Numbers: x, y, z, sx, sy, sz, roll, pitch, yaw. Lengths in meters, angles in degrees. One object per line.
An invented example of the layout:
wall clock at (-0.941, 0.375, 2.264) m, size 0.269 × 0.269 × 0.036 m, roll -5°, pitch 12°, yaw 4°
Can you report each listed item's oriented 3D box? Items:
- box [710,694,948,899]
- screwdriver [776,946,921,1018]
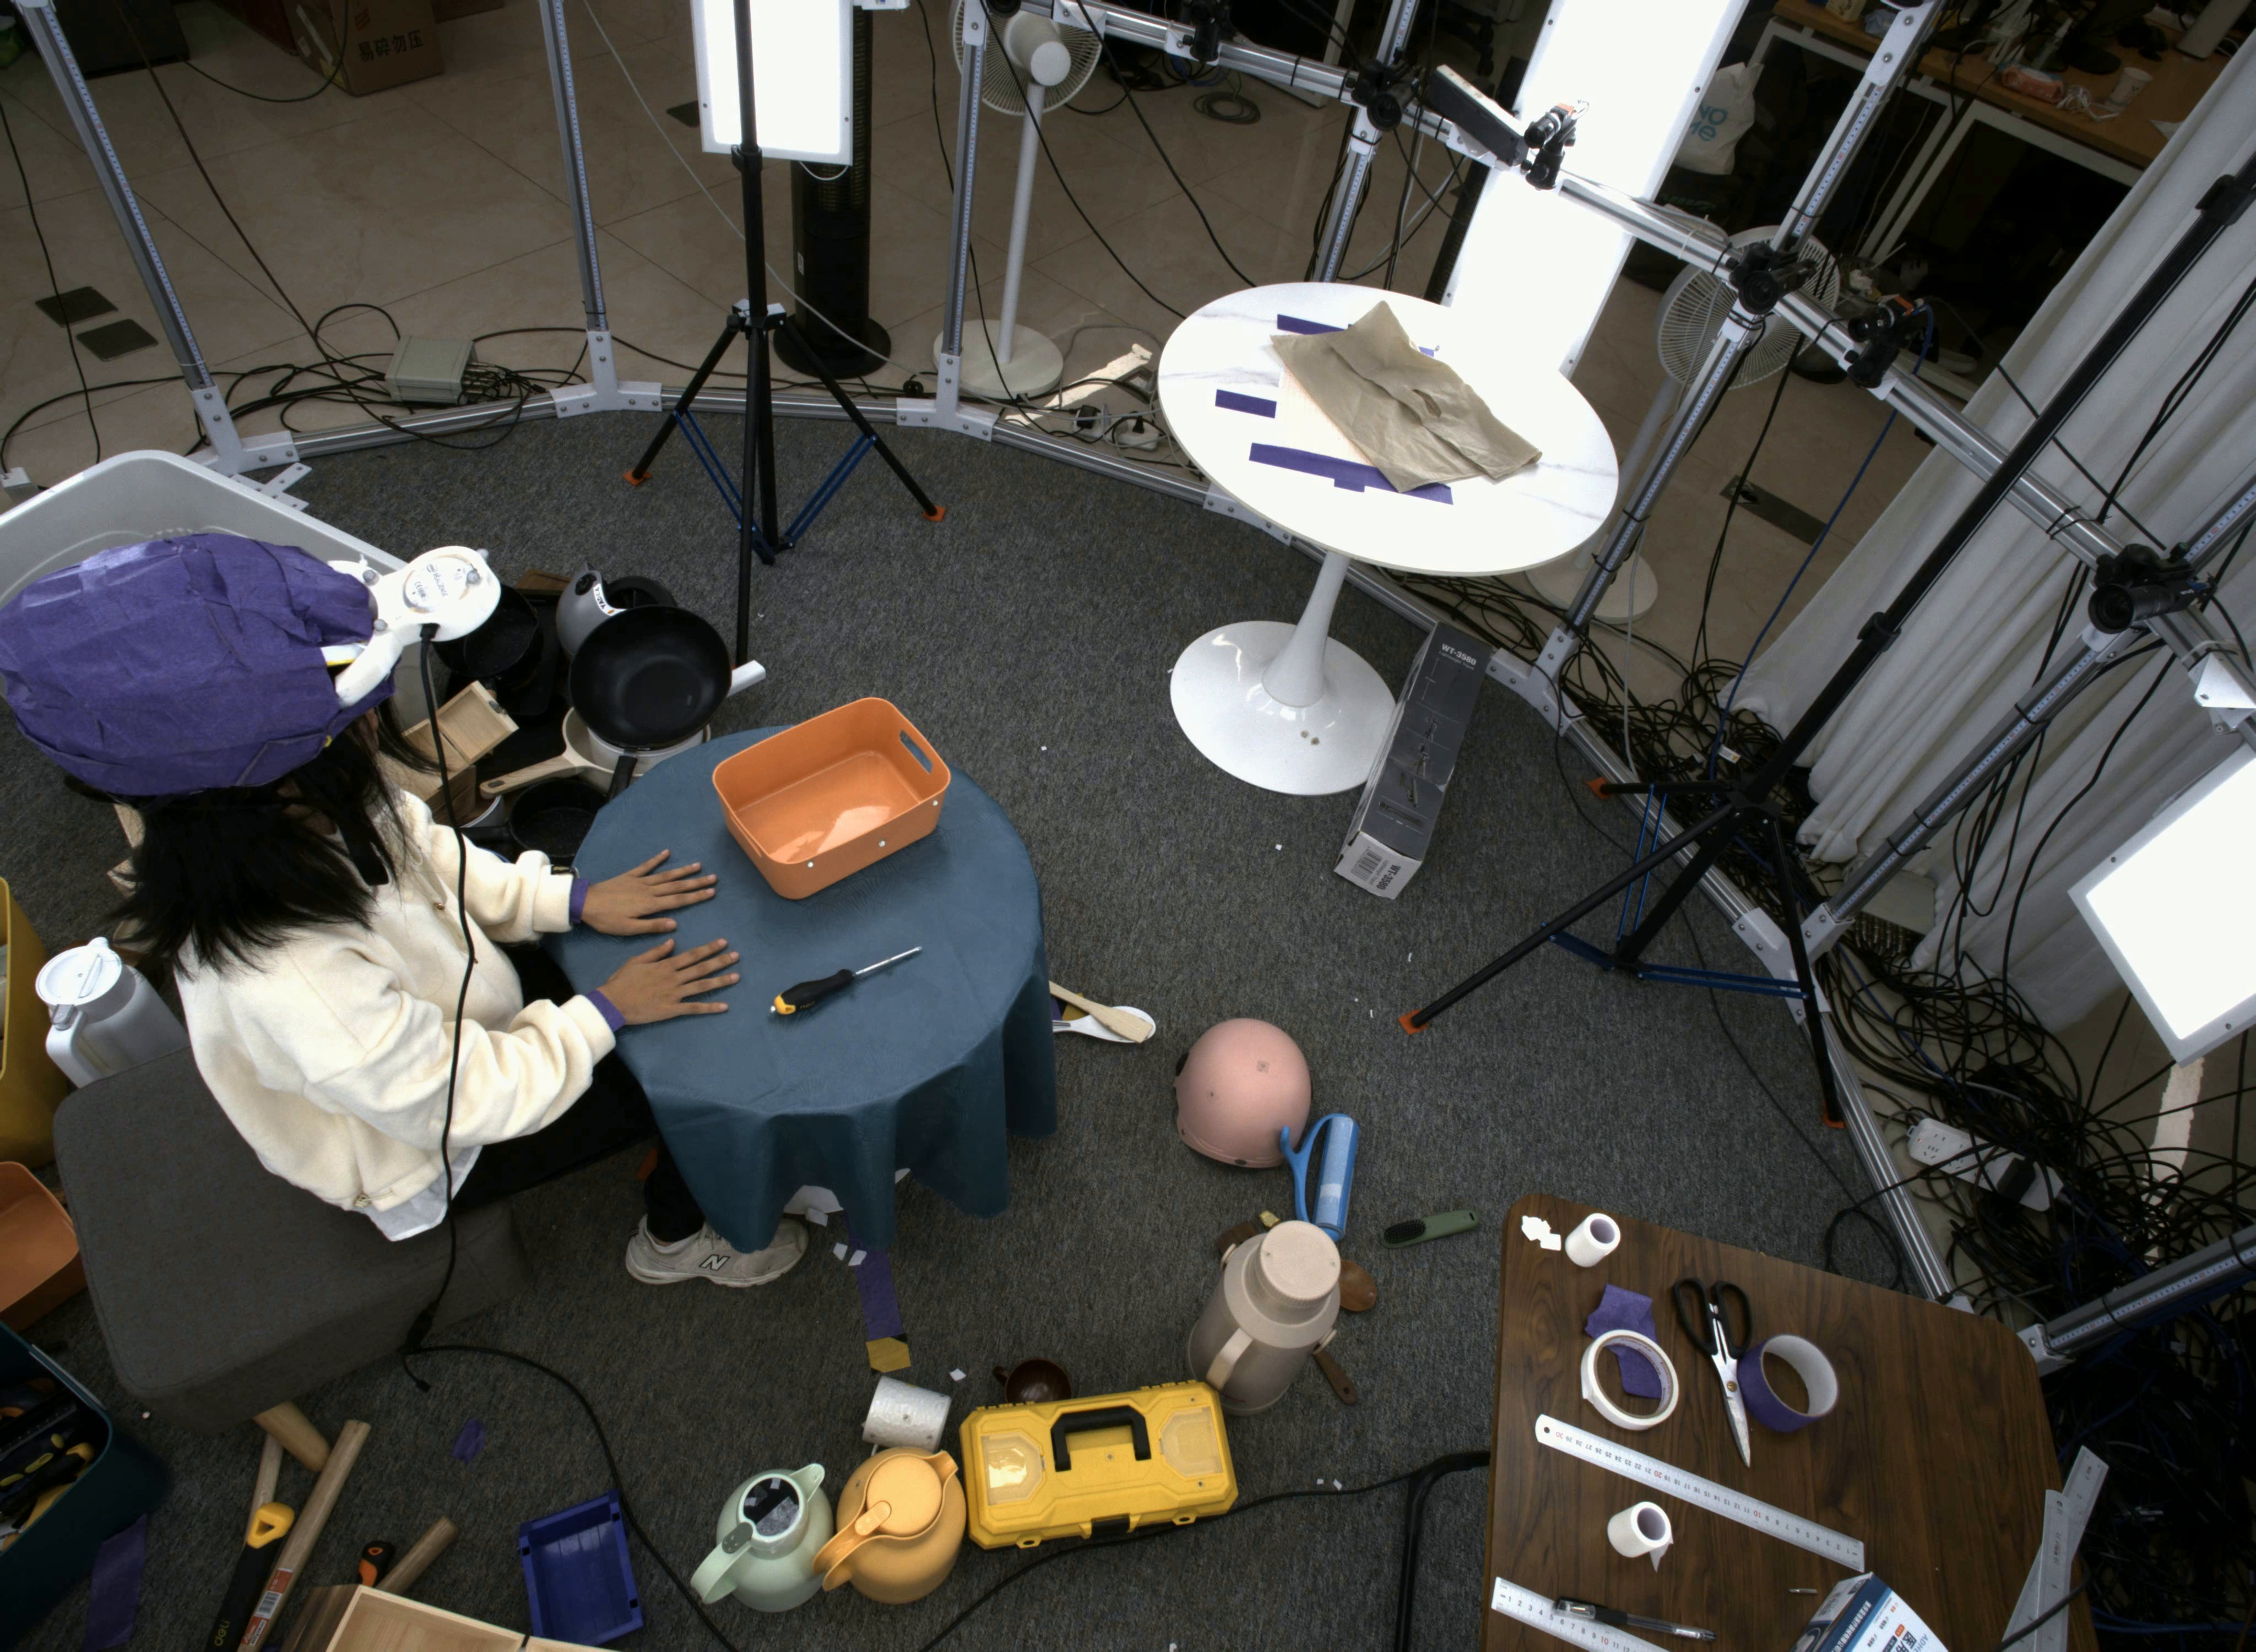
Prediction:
box at (-0.388, -0.038, 1.689) m, size 0.274 × 0.104 × 0.195 m, roll -30°, pitch 66°, yaw -31°
screwdriver at (-0.337, 0.187, 1.589) m, size 0.197 × 0.032 × 0.030 m, roll -19°, pitch 59°, yaw -31°
